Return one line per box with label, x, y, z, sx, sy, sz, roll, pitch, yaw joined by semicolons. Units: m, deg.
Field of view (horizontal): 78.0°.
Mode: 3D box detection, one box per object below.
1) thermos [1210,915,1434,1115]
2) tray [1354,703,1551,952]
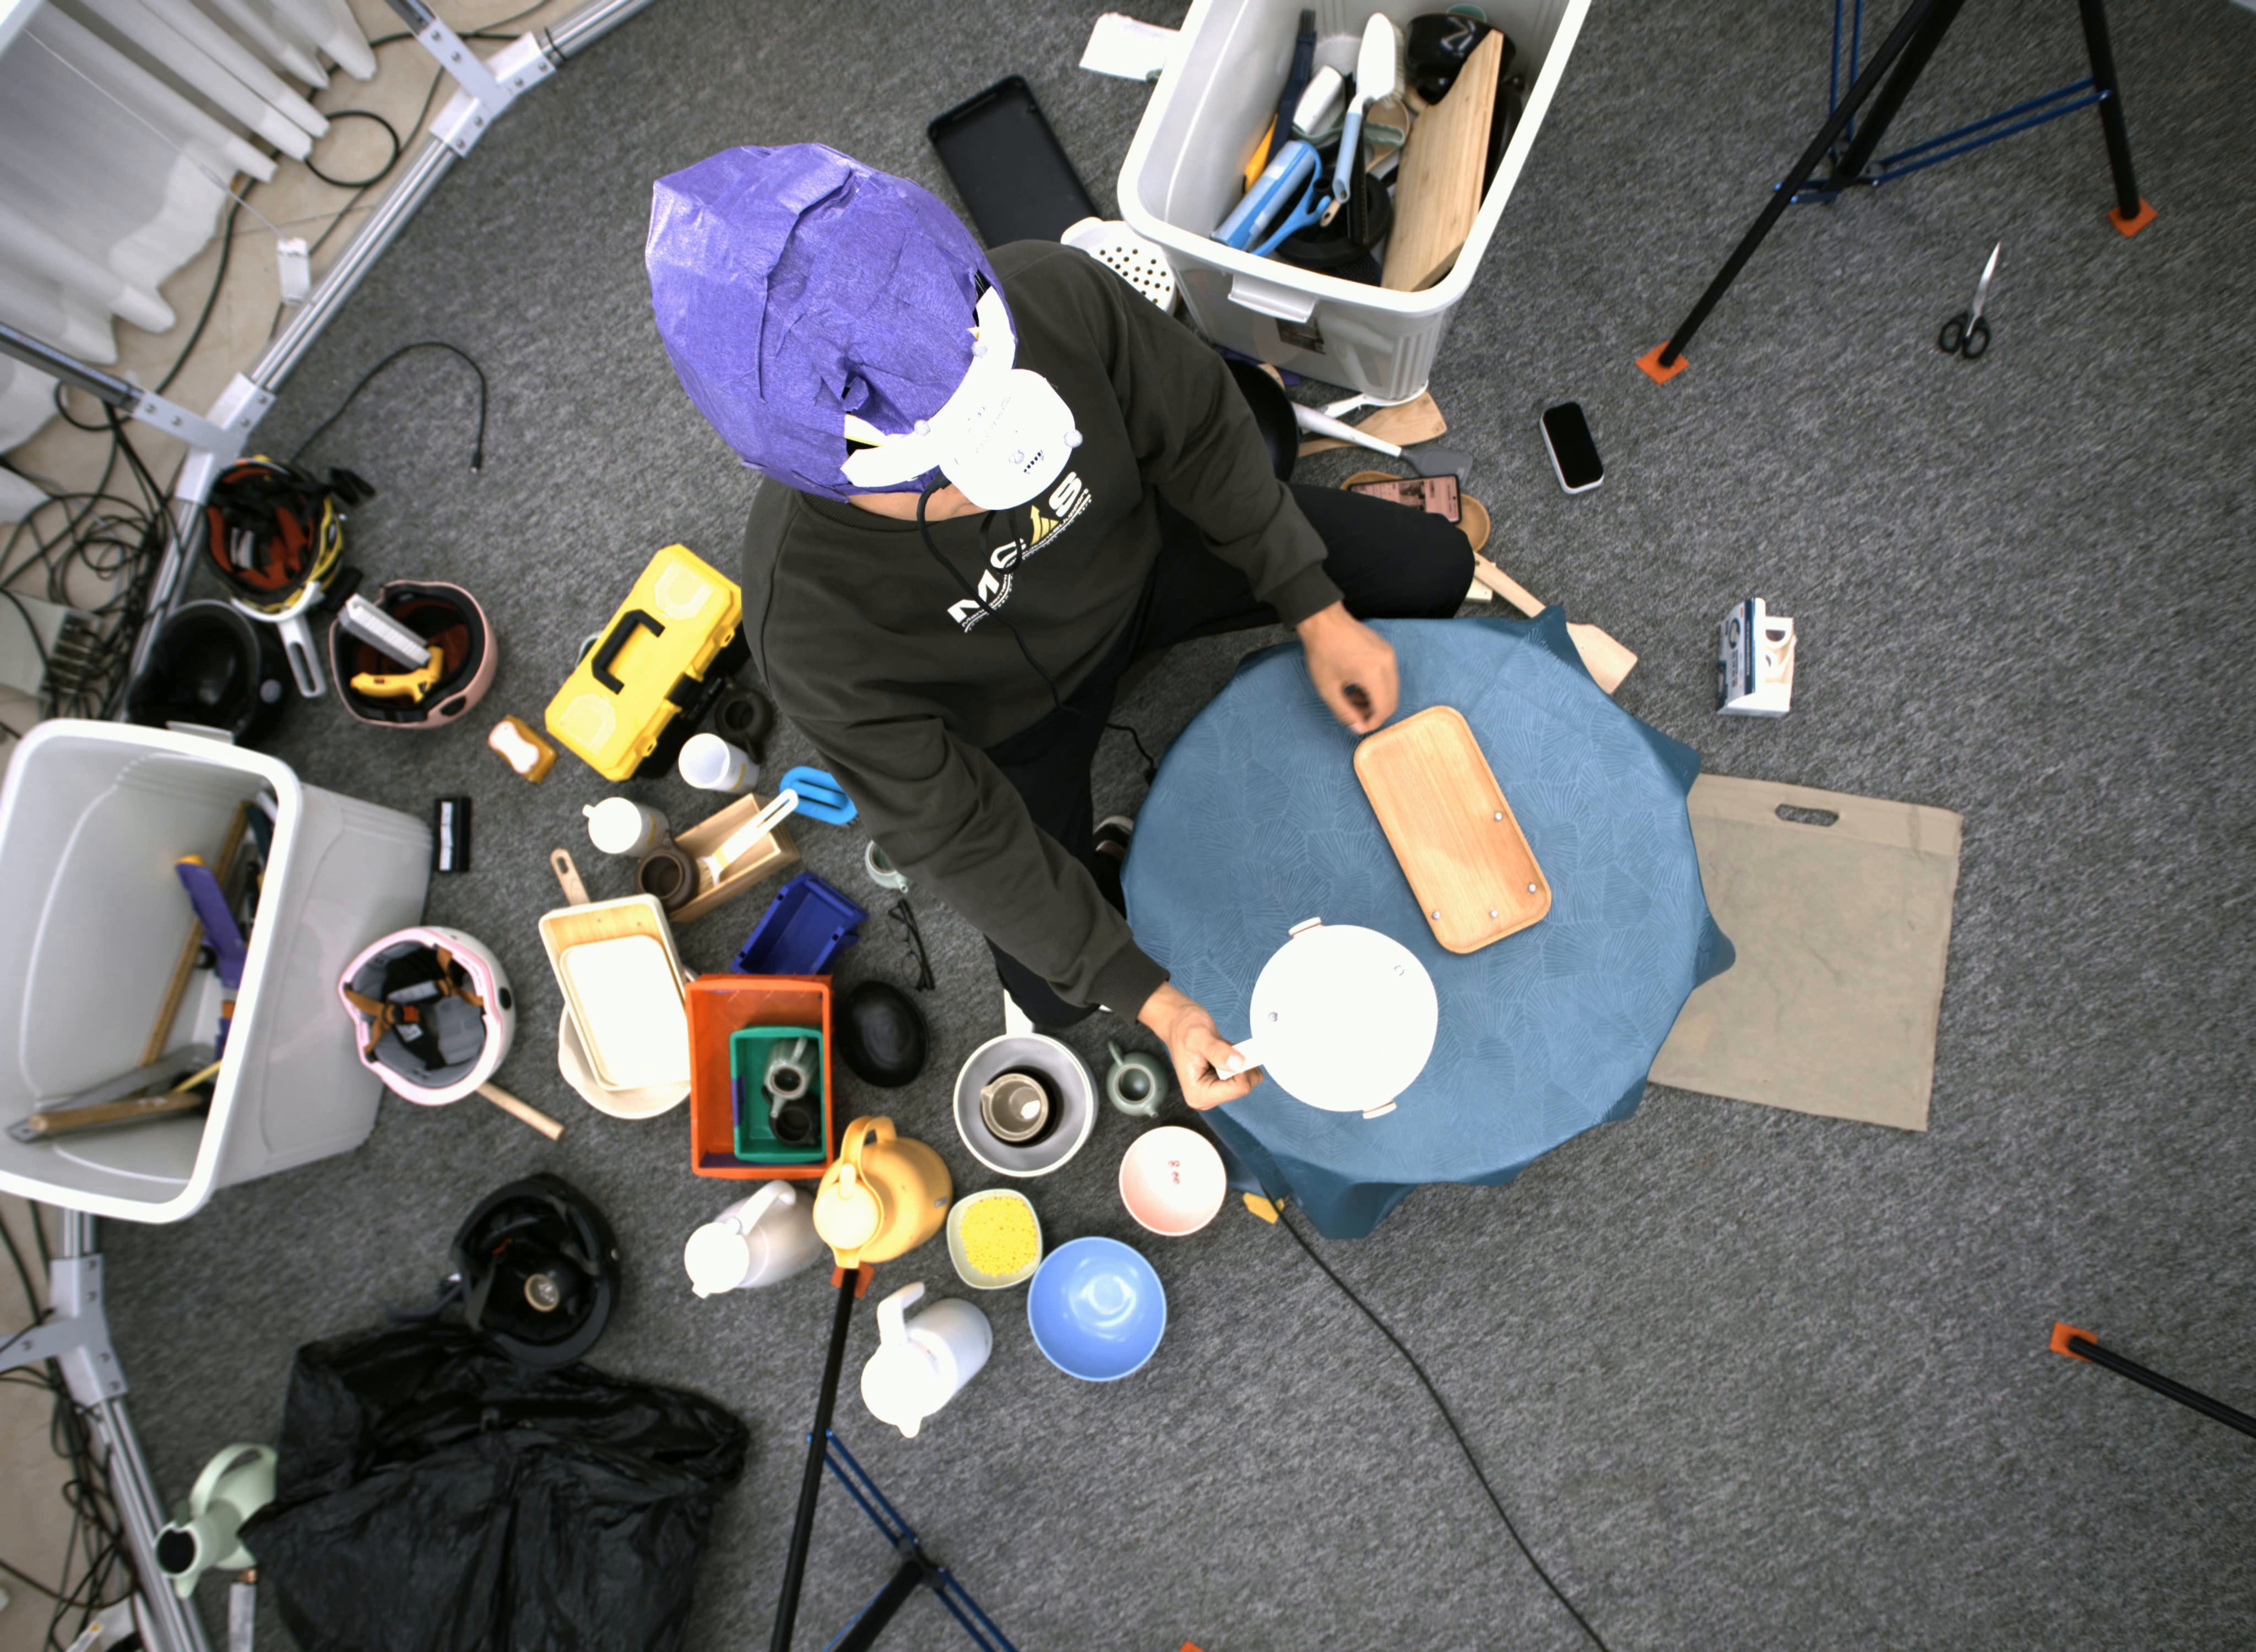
thermos;0.179;0.175;1.266;0.208;0.407;0.174;-23;82;5
tray;0.339;-0.001;1.443;0.131;0.023;0.249;-24;82;6
